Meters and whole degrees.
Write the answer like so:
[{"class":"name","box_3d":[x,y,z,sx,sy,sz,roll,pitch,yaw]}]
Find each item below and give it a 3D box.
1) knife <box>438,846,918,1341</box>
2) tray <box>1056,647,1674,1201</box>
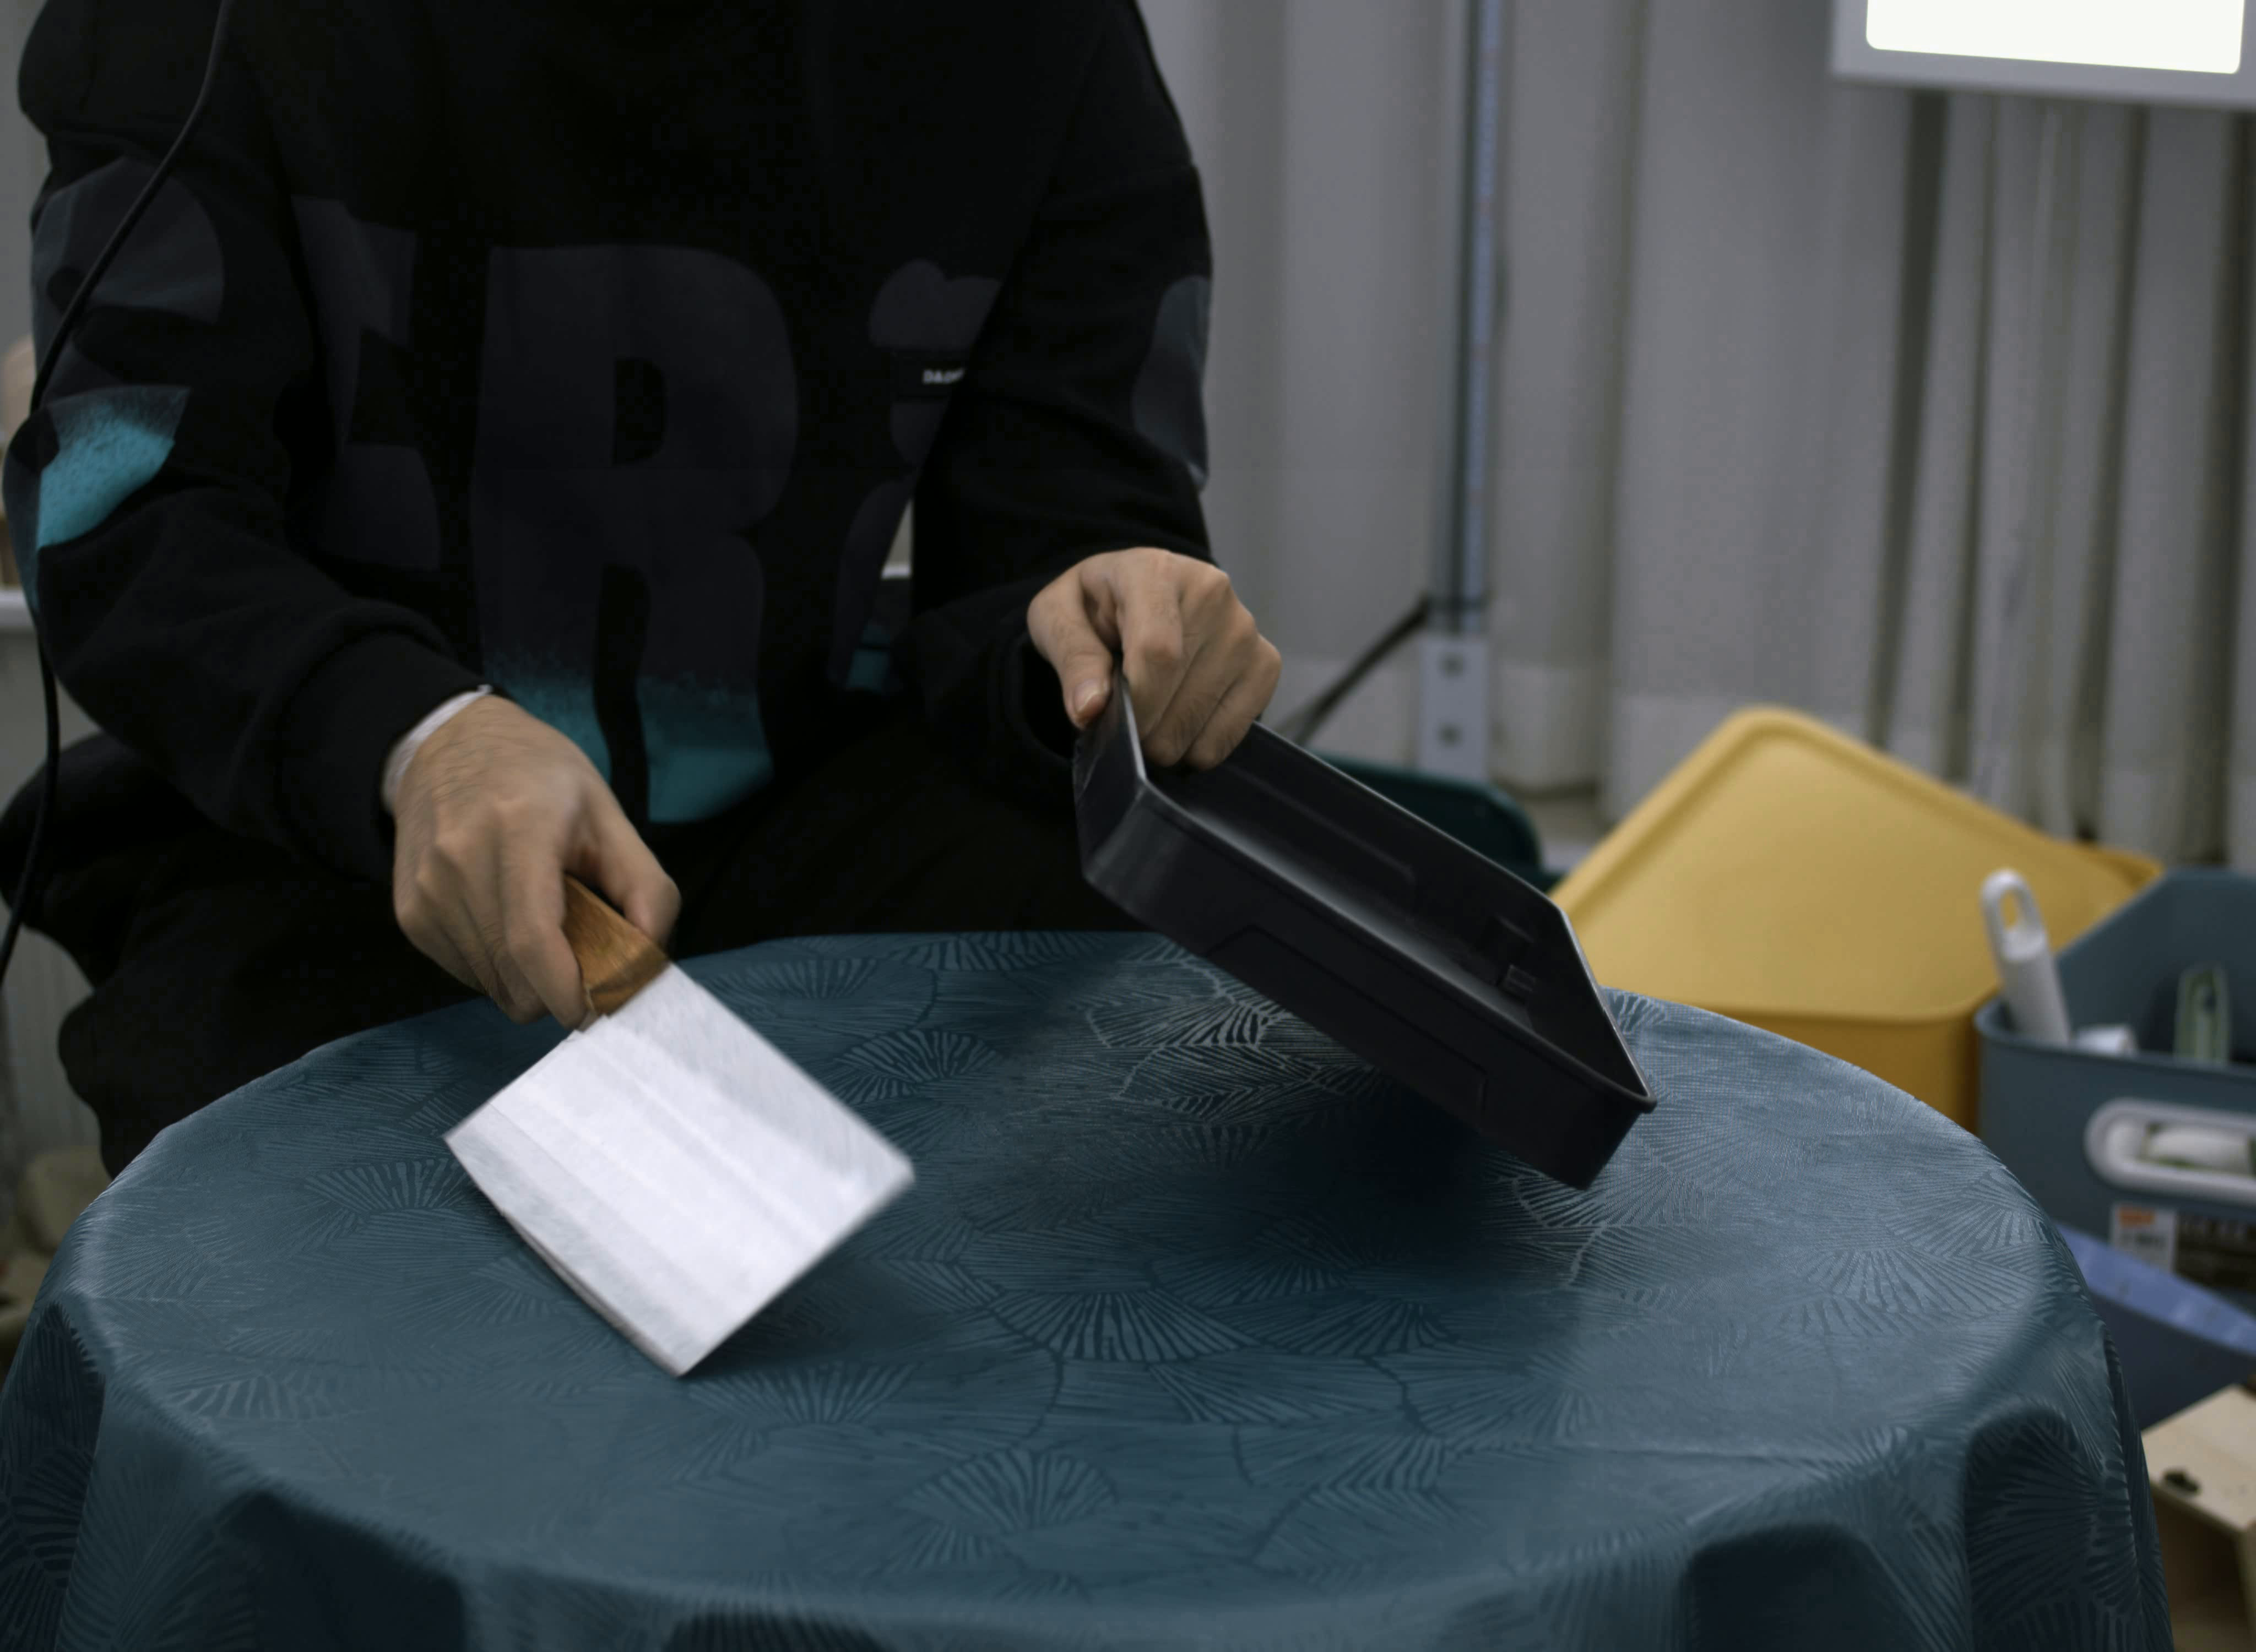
[{"class":"knife","box_3d":[-0.160,0.081,1.597,0.093,0.021,0.301,-34,32,-13]},{"class":"tray","box_3d":[0.067,0.025,1.664,0.185,0.037,0.316,31,7,-8]}]
